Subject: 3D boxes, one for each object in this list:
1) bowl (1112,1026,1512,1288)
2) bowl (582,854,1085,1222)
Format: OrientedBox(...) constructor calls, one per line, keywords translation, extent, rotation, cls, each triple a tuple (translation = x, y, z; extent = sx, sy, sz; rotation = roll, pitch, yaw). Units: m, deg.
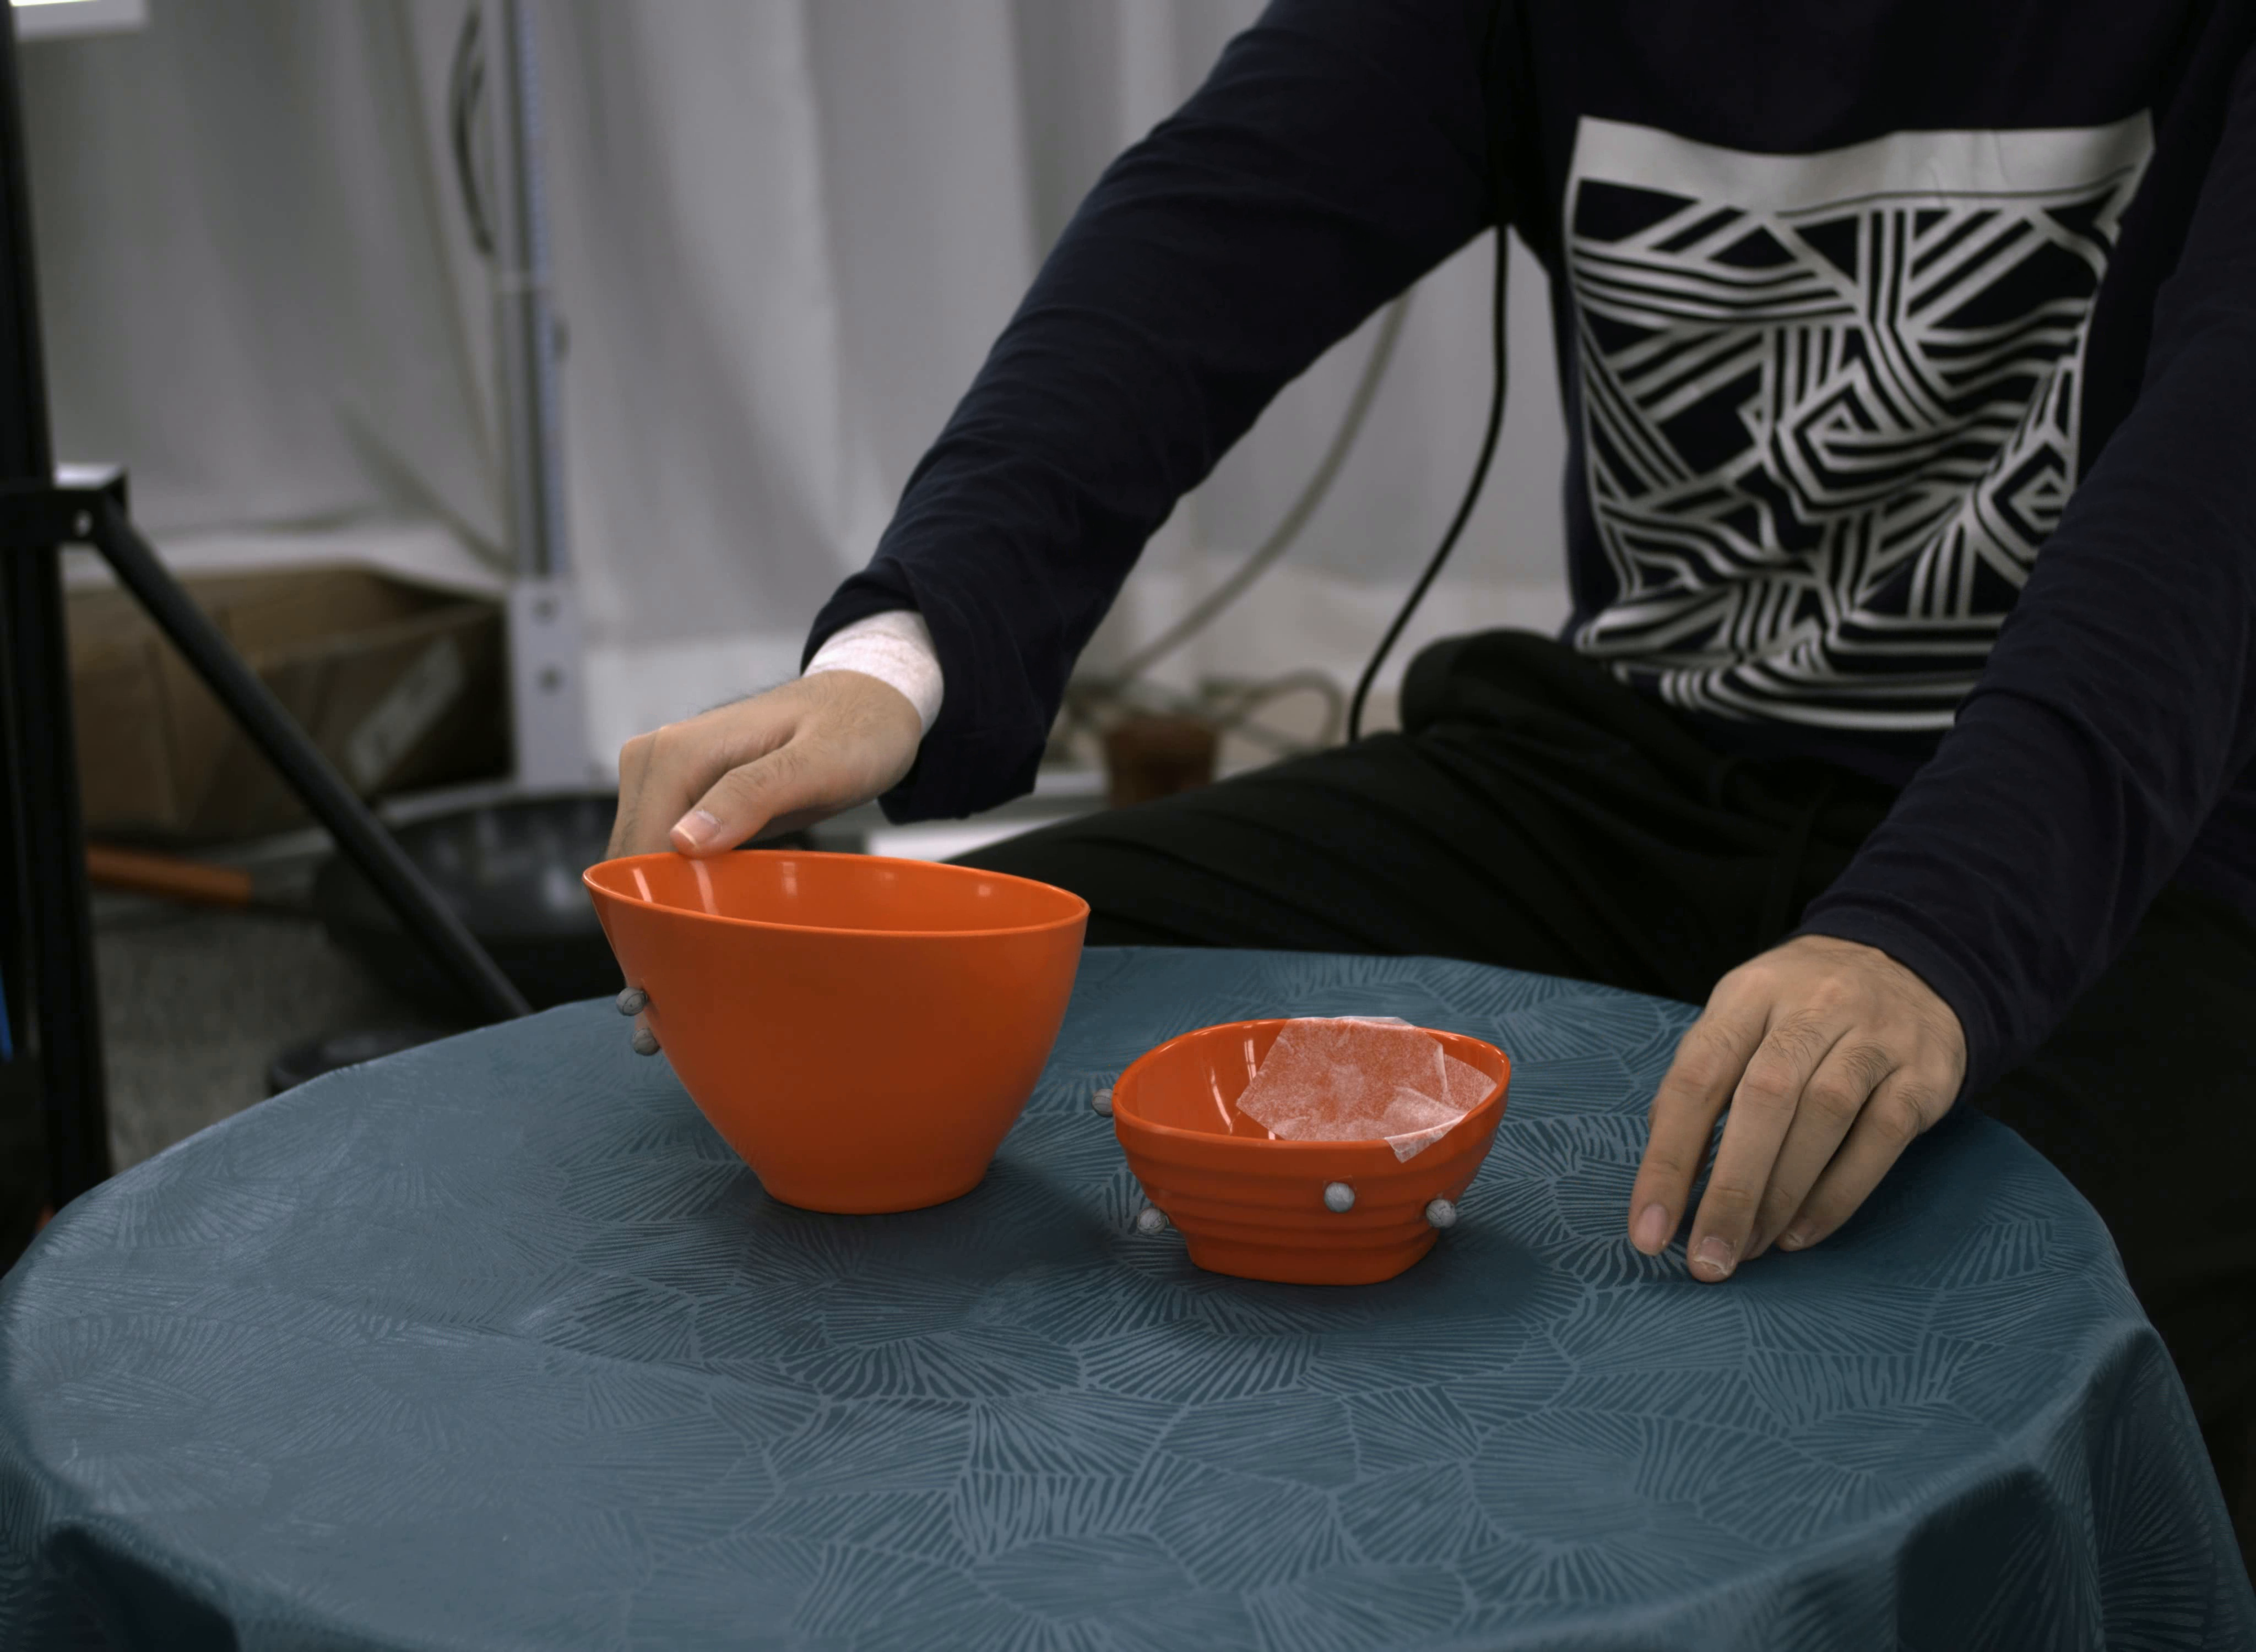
OrientedBox(translation=(0.054, 0.096, 1.507), extent=(0.118, 0.051, 0.119), rotation=(-3, 14, -1), cls="bowl")
OrientedBox(translation=(-0.085, 0.060, 1.565), extent=(0.147, 0.105, 0.149), rotation=(-2, 14, -1), cls="bowl")
